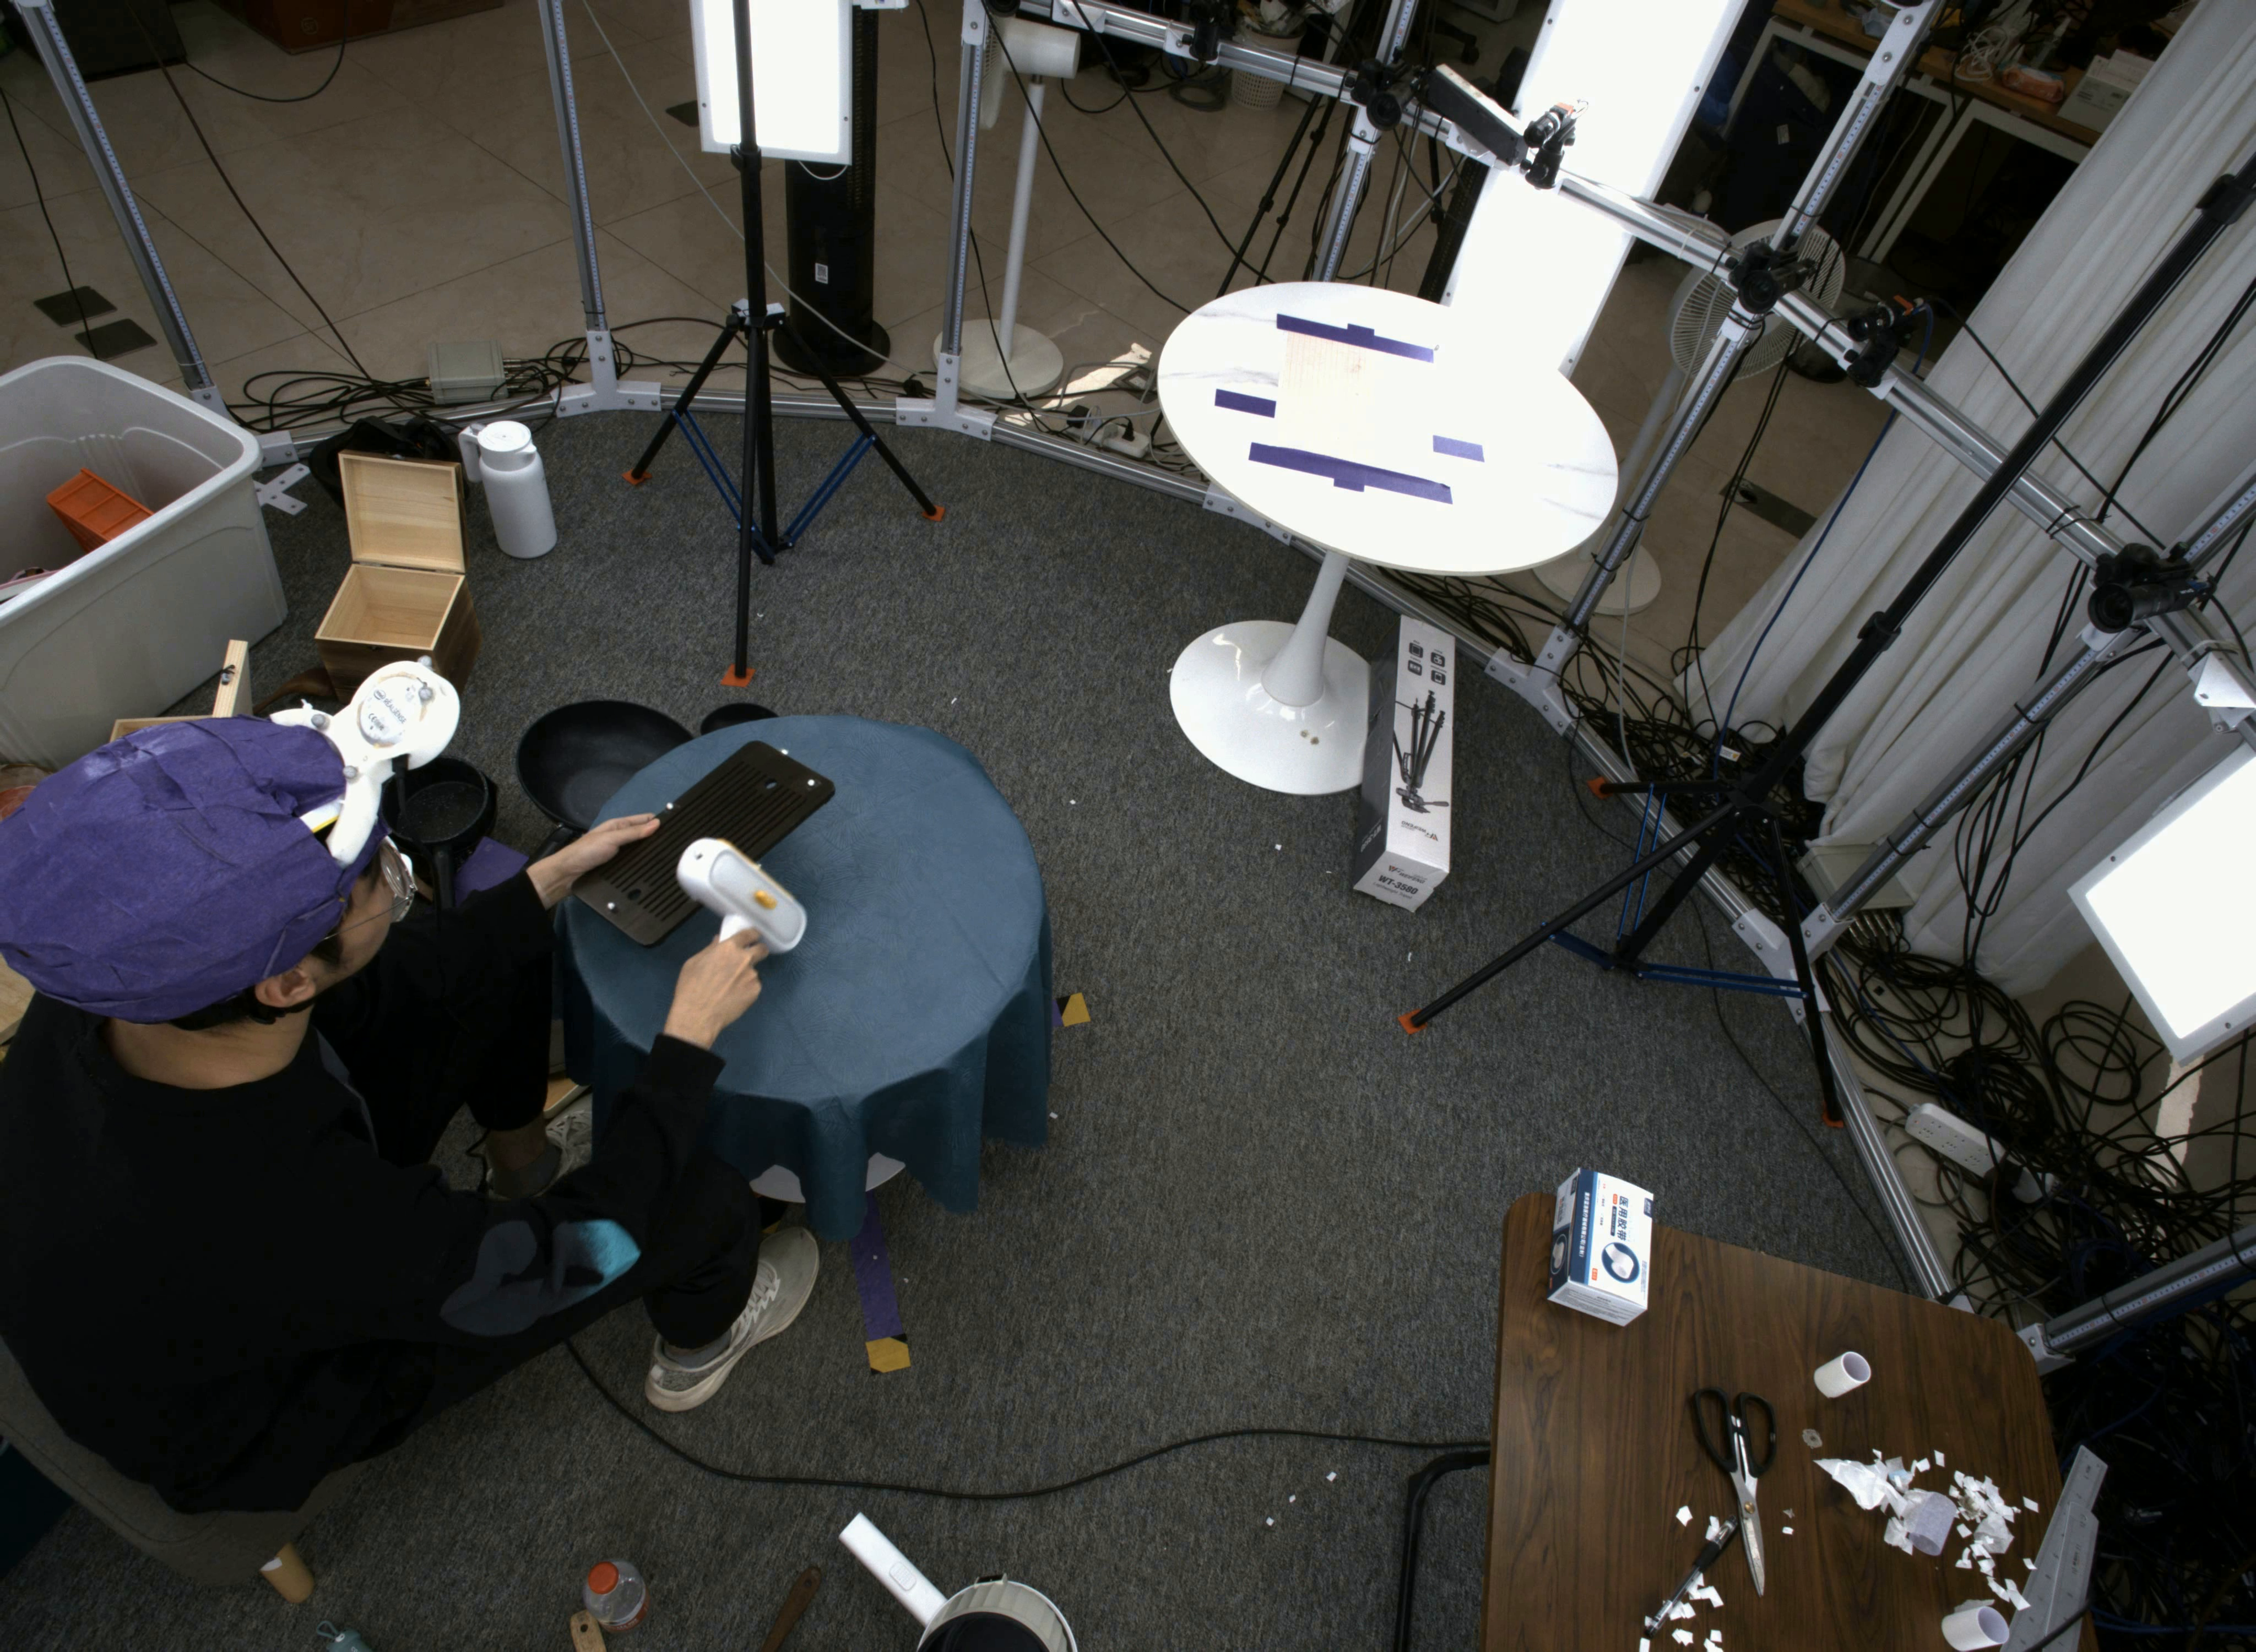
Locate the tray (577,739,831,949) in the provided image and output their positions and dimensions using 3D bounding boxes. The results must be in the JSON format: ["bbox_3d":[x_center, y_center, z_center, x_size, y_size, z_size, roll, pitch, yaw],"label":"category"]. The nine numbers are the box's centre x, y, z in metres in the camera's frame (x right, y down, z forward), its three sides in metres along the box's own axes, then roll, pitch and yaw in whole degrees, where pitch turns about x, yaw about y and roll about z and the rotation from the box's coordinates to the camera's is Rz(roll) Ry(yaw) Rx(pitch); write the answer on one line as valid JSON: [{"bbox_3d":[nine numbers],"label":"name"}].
[{"bbox_3d":[-0.518,0.015,1.574,0.164,0.019,0.306,27,57,29],"label":"tray"}]

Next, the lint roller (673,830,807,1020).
[{"bbox_3d":[-0.449,0.124,1.476,0.072,0.200,0.191,-1,63,22],"label":"lint roller"}]
